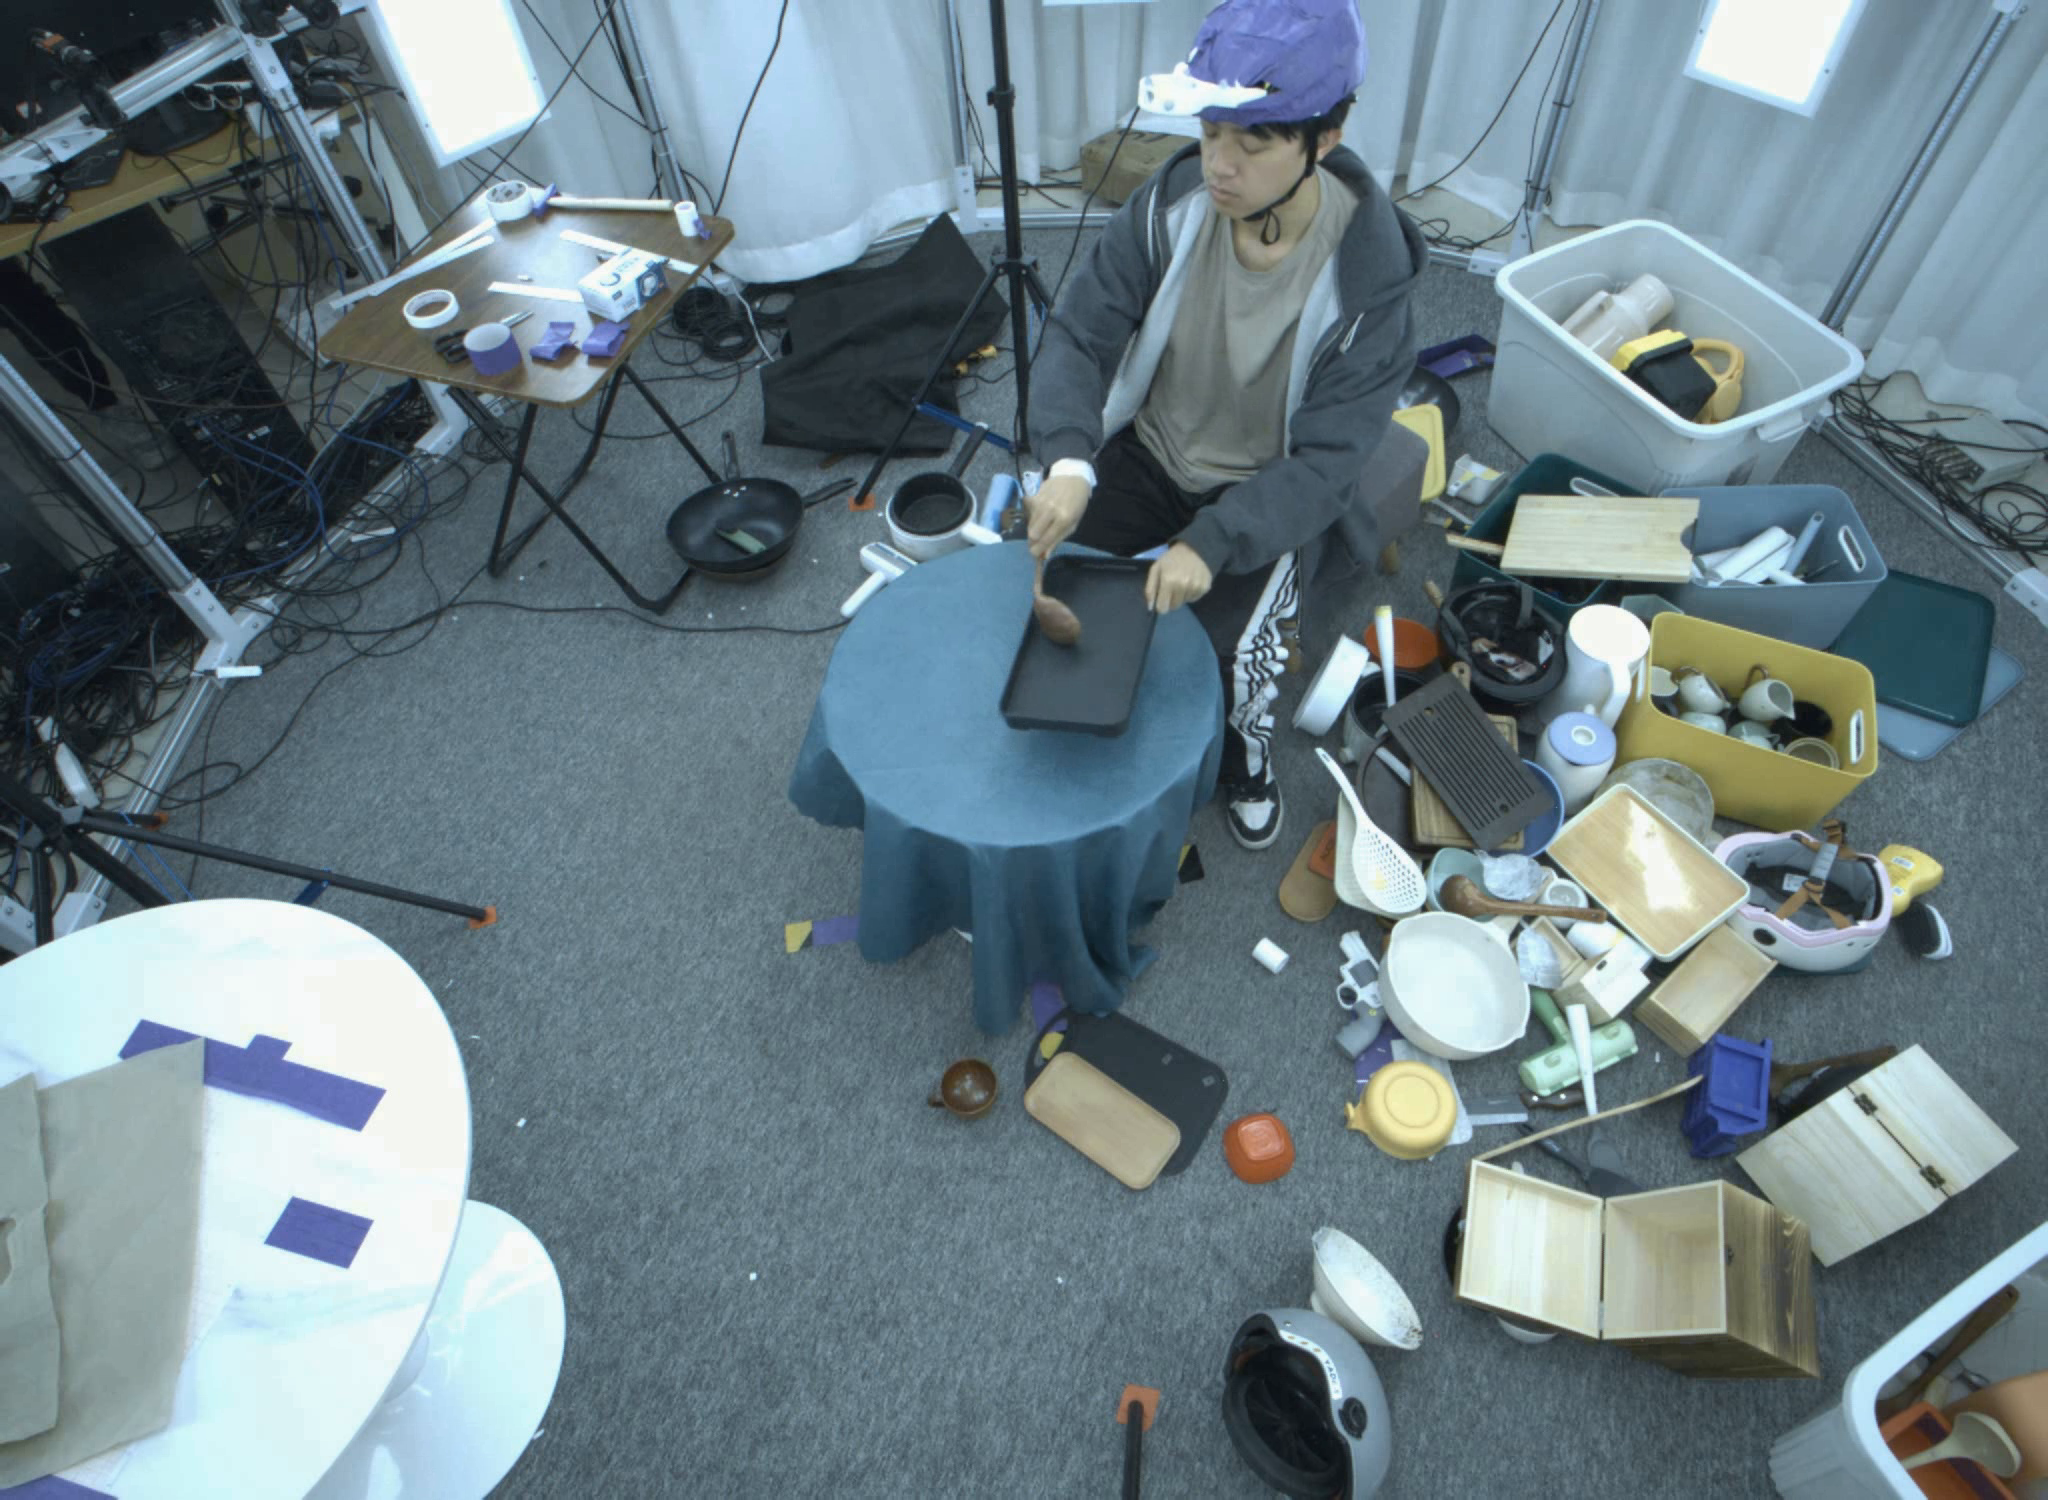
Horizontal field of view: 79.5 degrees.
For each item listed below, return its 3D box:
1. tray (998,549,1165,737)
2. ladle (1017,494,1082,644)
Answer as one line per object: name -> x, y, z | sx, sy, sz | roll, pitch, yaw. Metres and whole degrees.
tray -> 0.087, -0.160, 1.765 | 0.182, 0.037, 0.316 | 7, 57, 16
ladle -> 0.035, -0.272, 1.802 | 0.065, 0.077, 0.257 | -5, 66, -6
